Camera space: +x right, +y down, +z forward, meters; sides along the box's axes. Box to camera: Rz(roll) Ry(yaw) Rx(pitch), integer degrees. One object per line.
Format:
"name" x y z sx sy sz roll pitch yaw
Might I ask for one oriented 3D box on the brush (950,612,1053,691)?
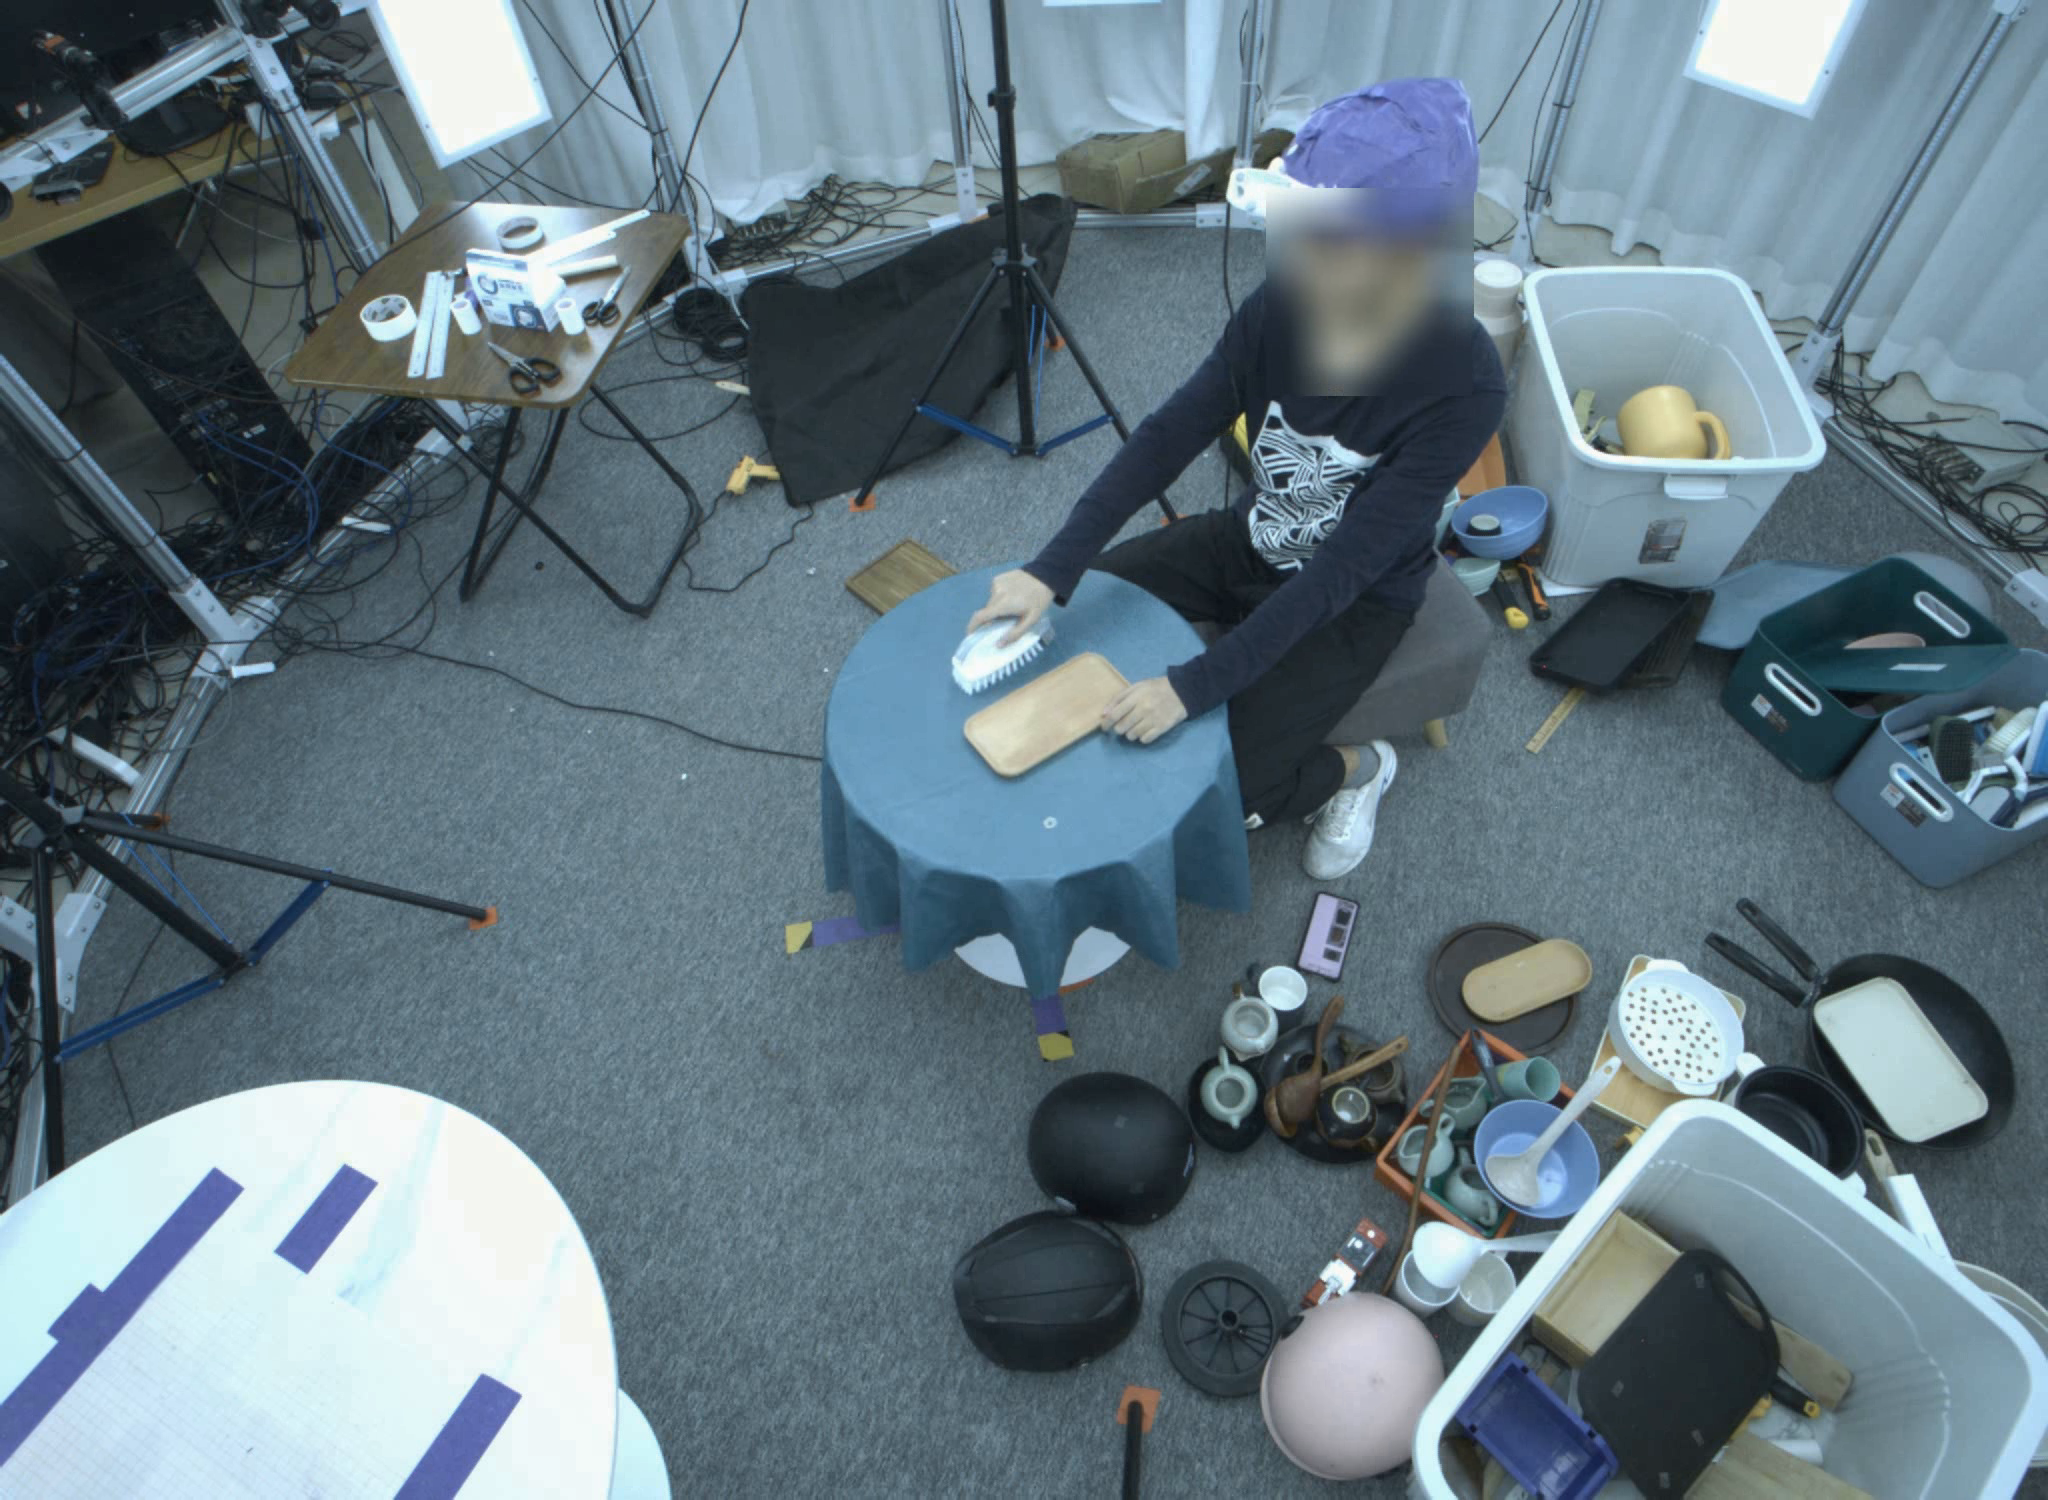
"brush" -0.031 -0.166 1.843 0.177 0.095 0.060 -28 57 -19

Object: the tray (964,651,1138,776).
"tray" 0.041 -0.055 1.807 0.253 0.023 0.128 -29 61 -19
